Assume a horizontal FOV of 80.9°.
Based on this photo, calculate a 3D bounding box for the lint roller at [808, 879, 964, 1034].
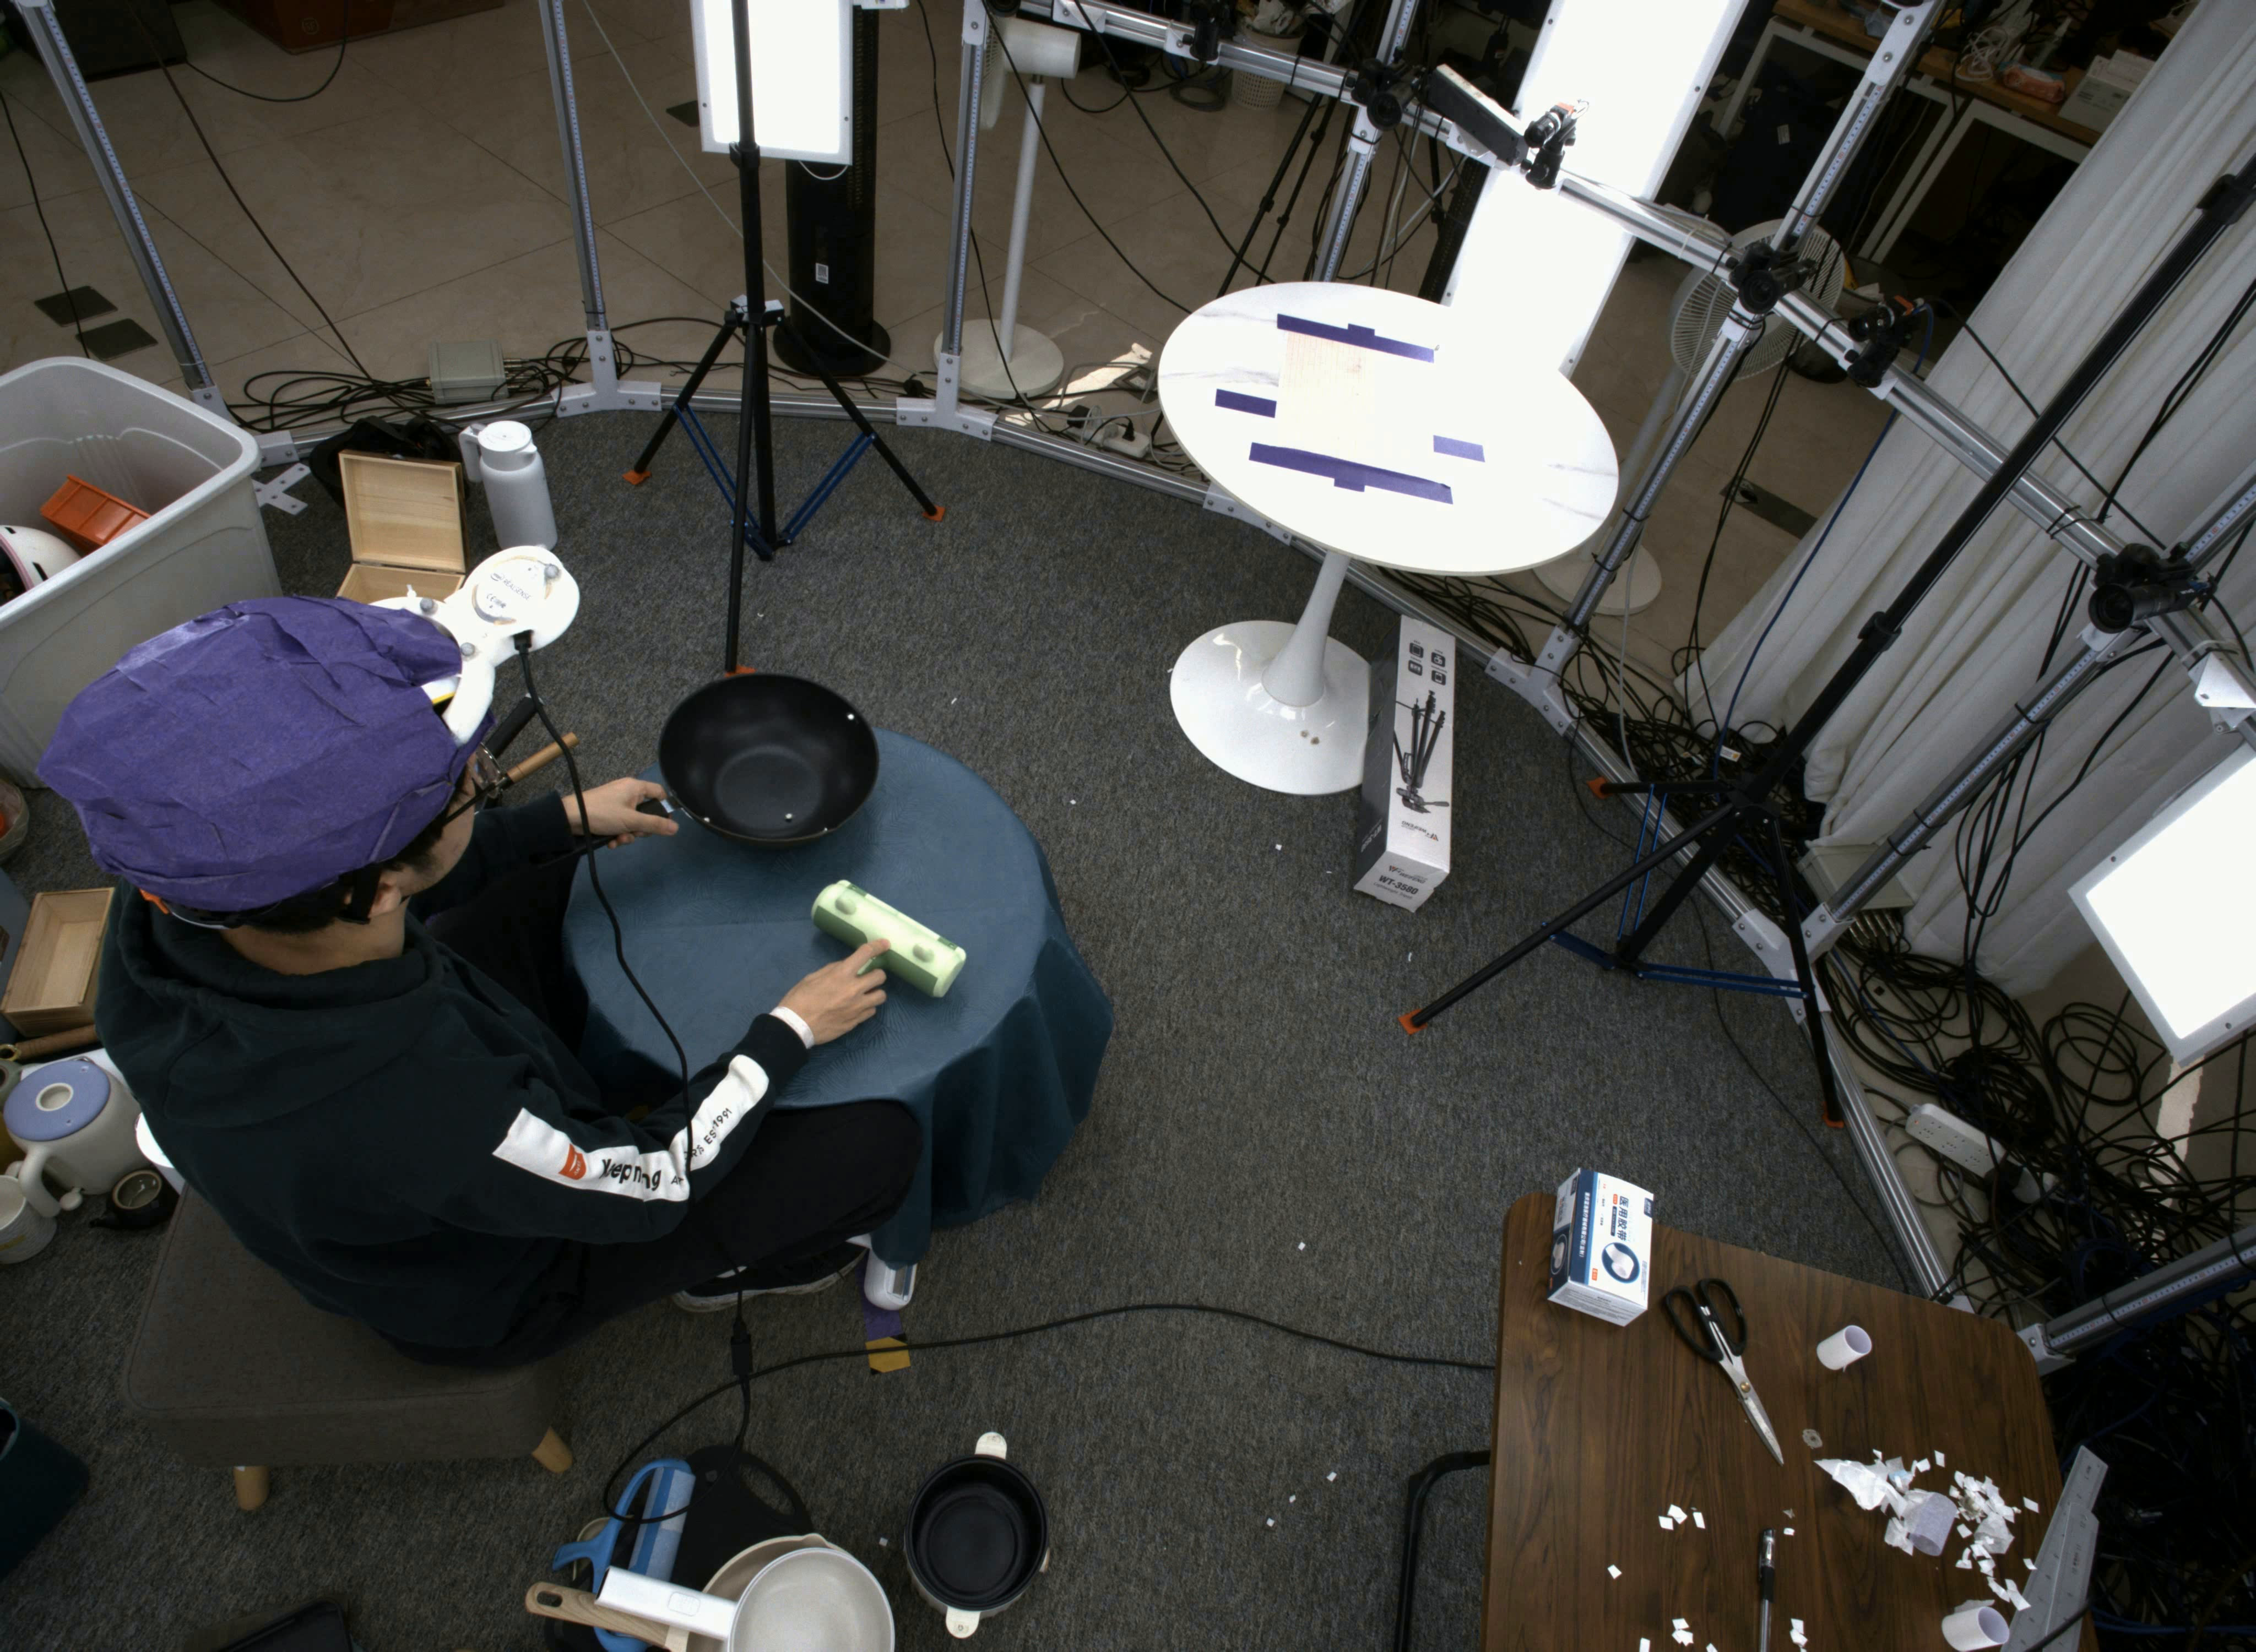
[{"bbox_3d":[-0.324,0.165,1.564,0.195,0.084,0.182,30,49,9],"label":"lint roller"}]

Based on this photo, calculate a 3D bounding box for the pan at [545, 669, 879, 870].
[{"bbox_3d":[-0.535,-0.035,1.648,0.465,0.088,0.282,-32,70,-33],"label":"pan"}]
